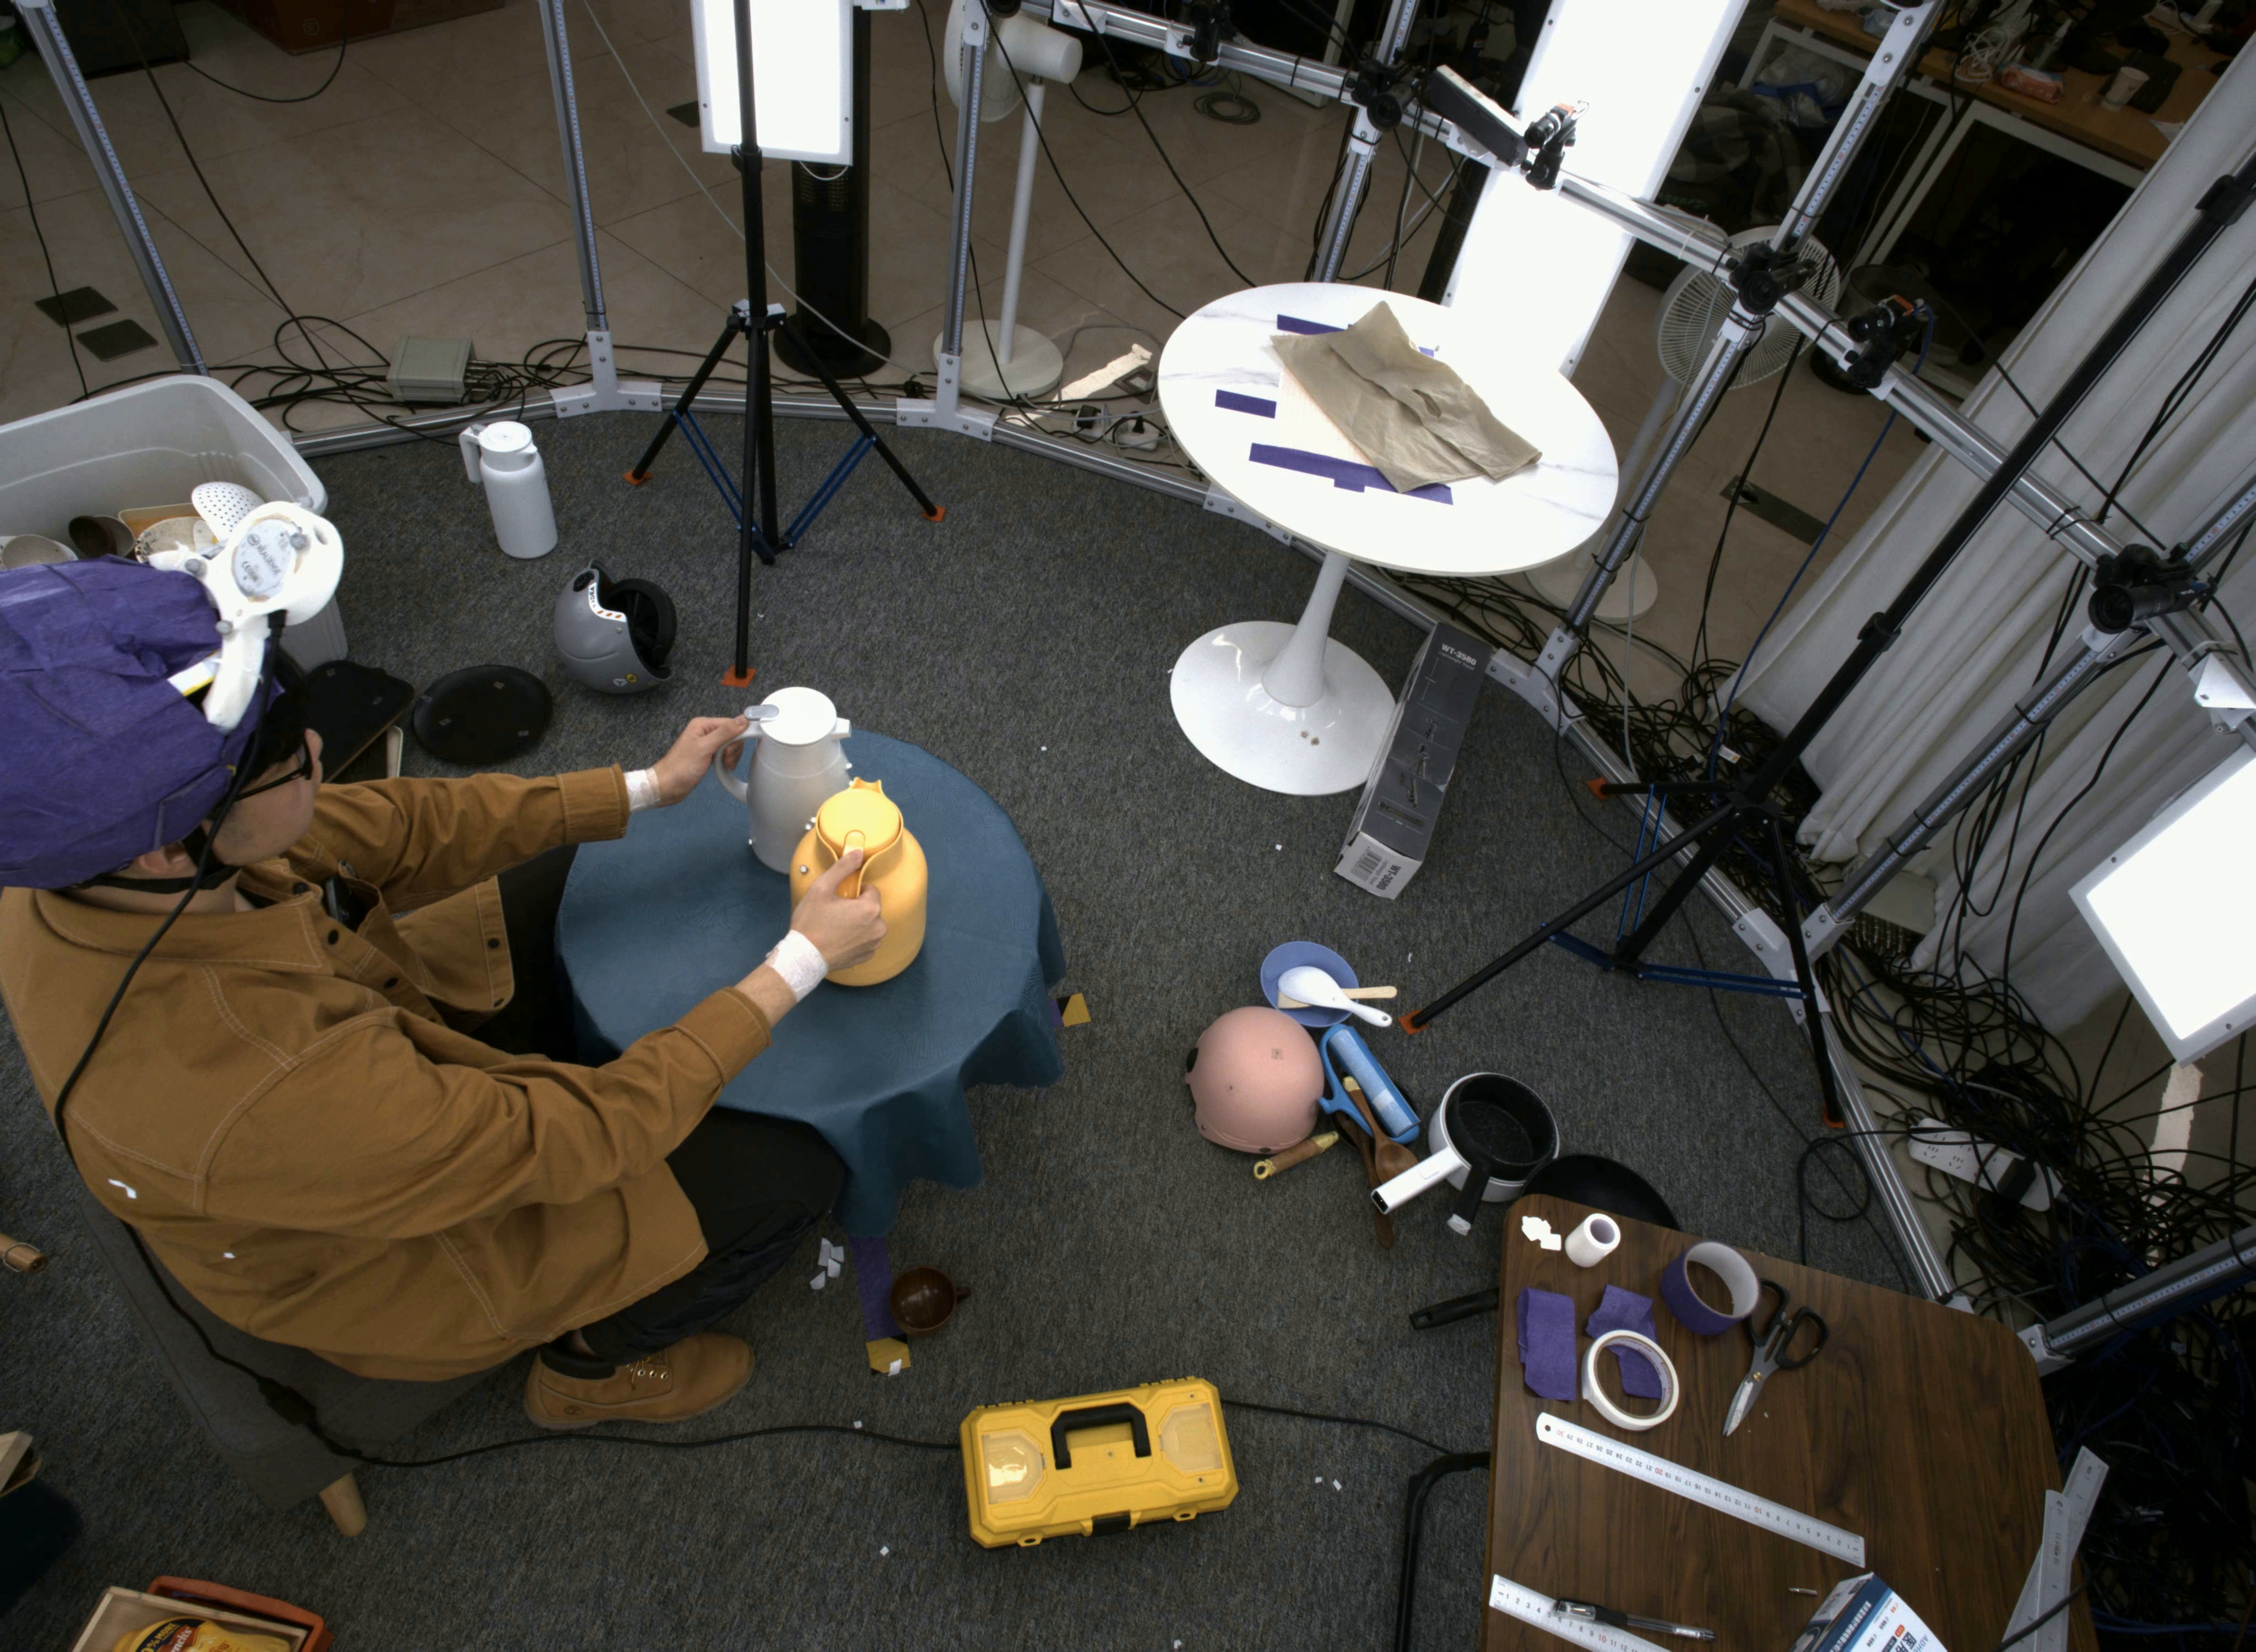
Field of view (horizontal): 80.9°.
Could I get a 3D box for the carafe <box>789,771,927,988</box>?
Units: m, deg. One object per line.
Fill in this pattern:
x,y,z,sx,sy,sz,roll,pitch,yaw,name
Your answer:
-0.321,0.077,1.523,0.162,0.267,0.199,7,50,-4,carafe

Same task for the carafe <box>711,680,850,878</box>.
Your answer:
-0.429,-0.064,1.607,0.167,0.254,0.130,1,52,-11,carafe
